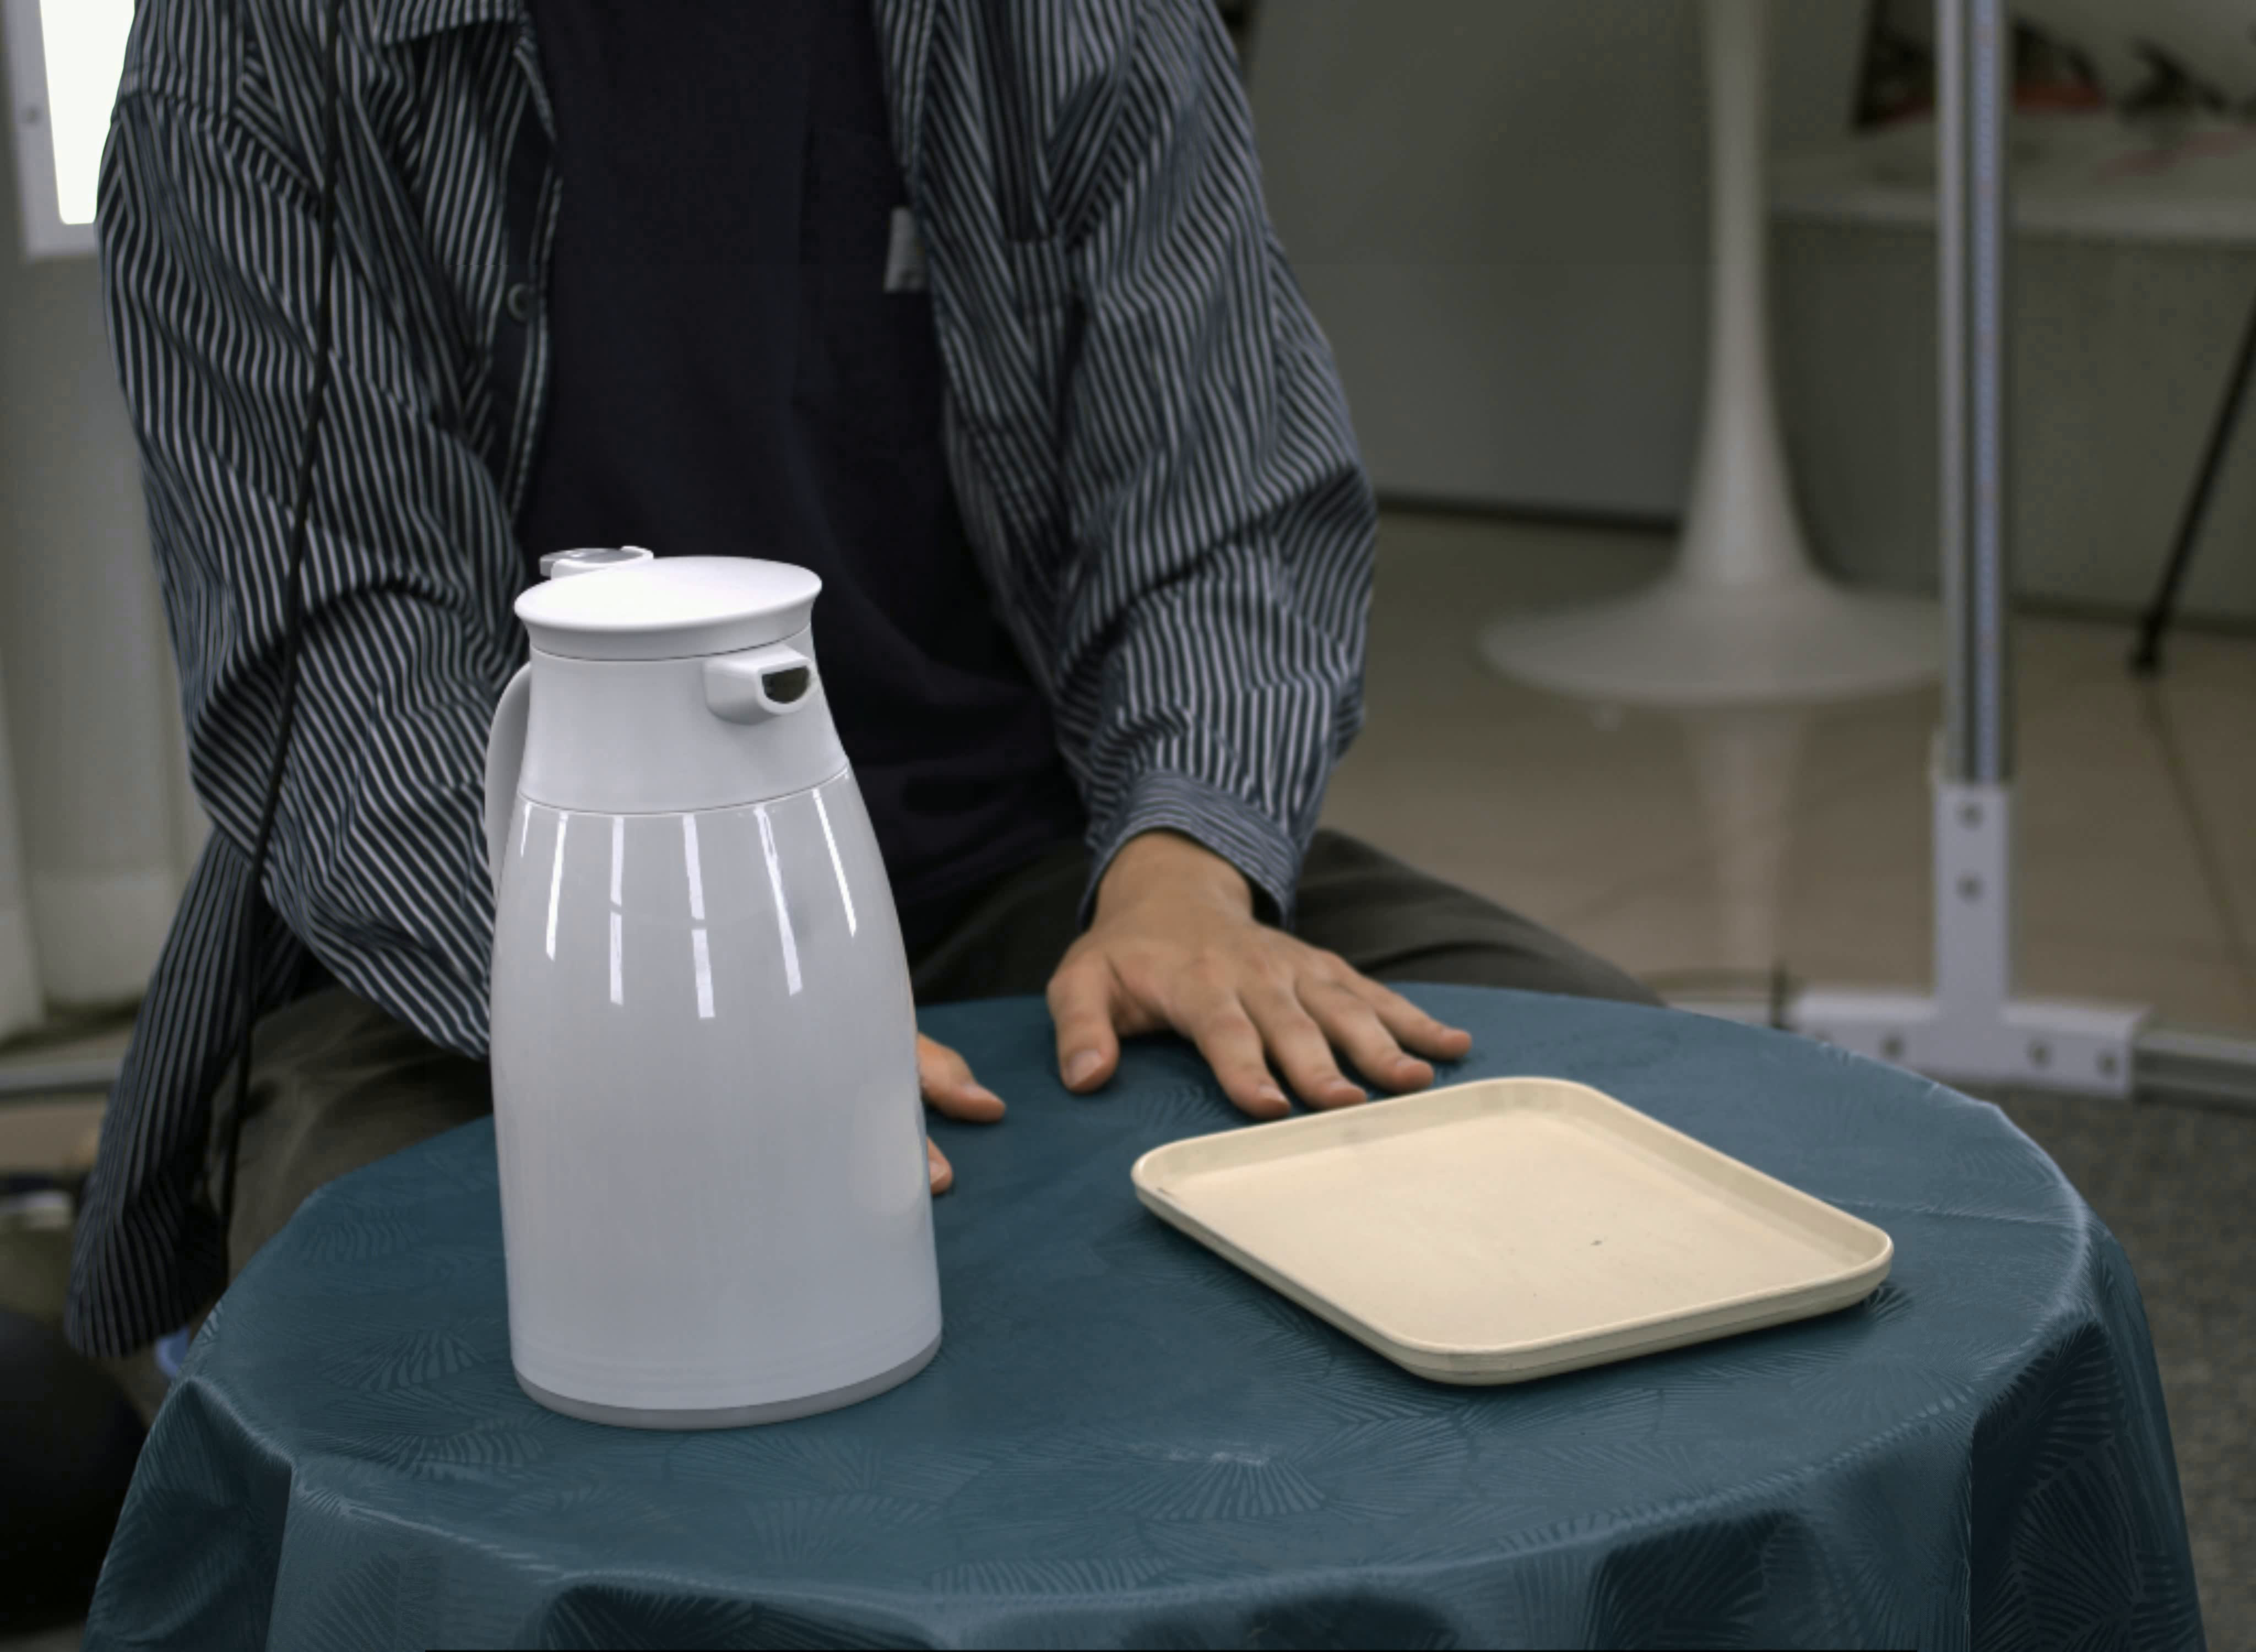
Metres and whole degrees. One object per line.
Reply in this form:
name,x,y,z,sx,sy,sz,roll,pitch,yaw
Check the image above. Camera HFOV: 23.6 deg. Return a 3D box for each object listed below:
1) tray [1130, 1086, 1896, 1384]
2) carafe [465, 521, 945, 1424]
tray,0.116,0.126,1.678,0.167,0.017,0.242,-9,14,-23
carafe,-0.142,0.036,1.625,0.130,0.251,0.169,-15,16,-38
